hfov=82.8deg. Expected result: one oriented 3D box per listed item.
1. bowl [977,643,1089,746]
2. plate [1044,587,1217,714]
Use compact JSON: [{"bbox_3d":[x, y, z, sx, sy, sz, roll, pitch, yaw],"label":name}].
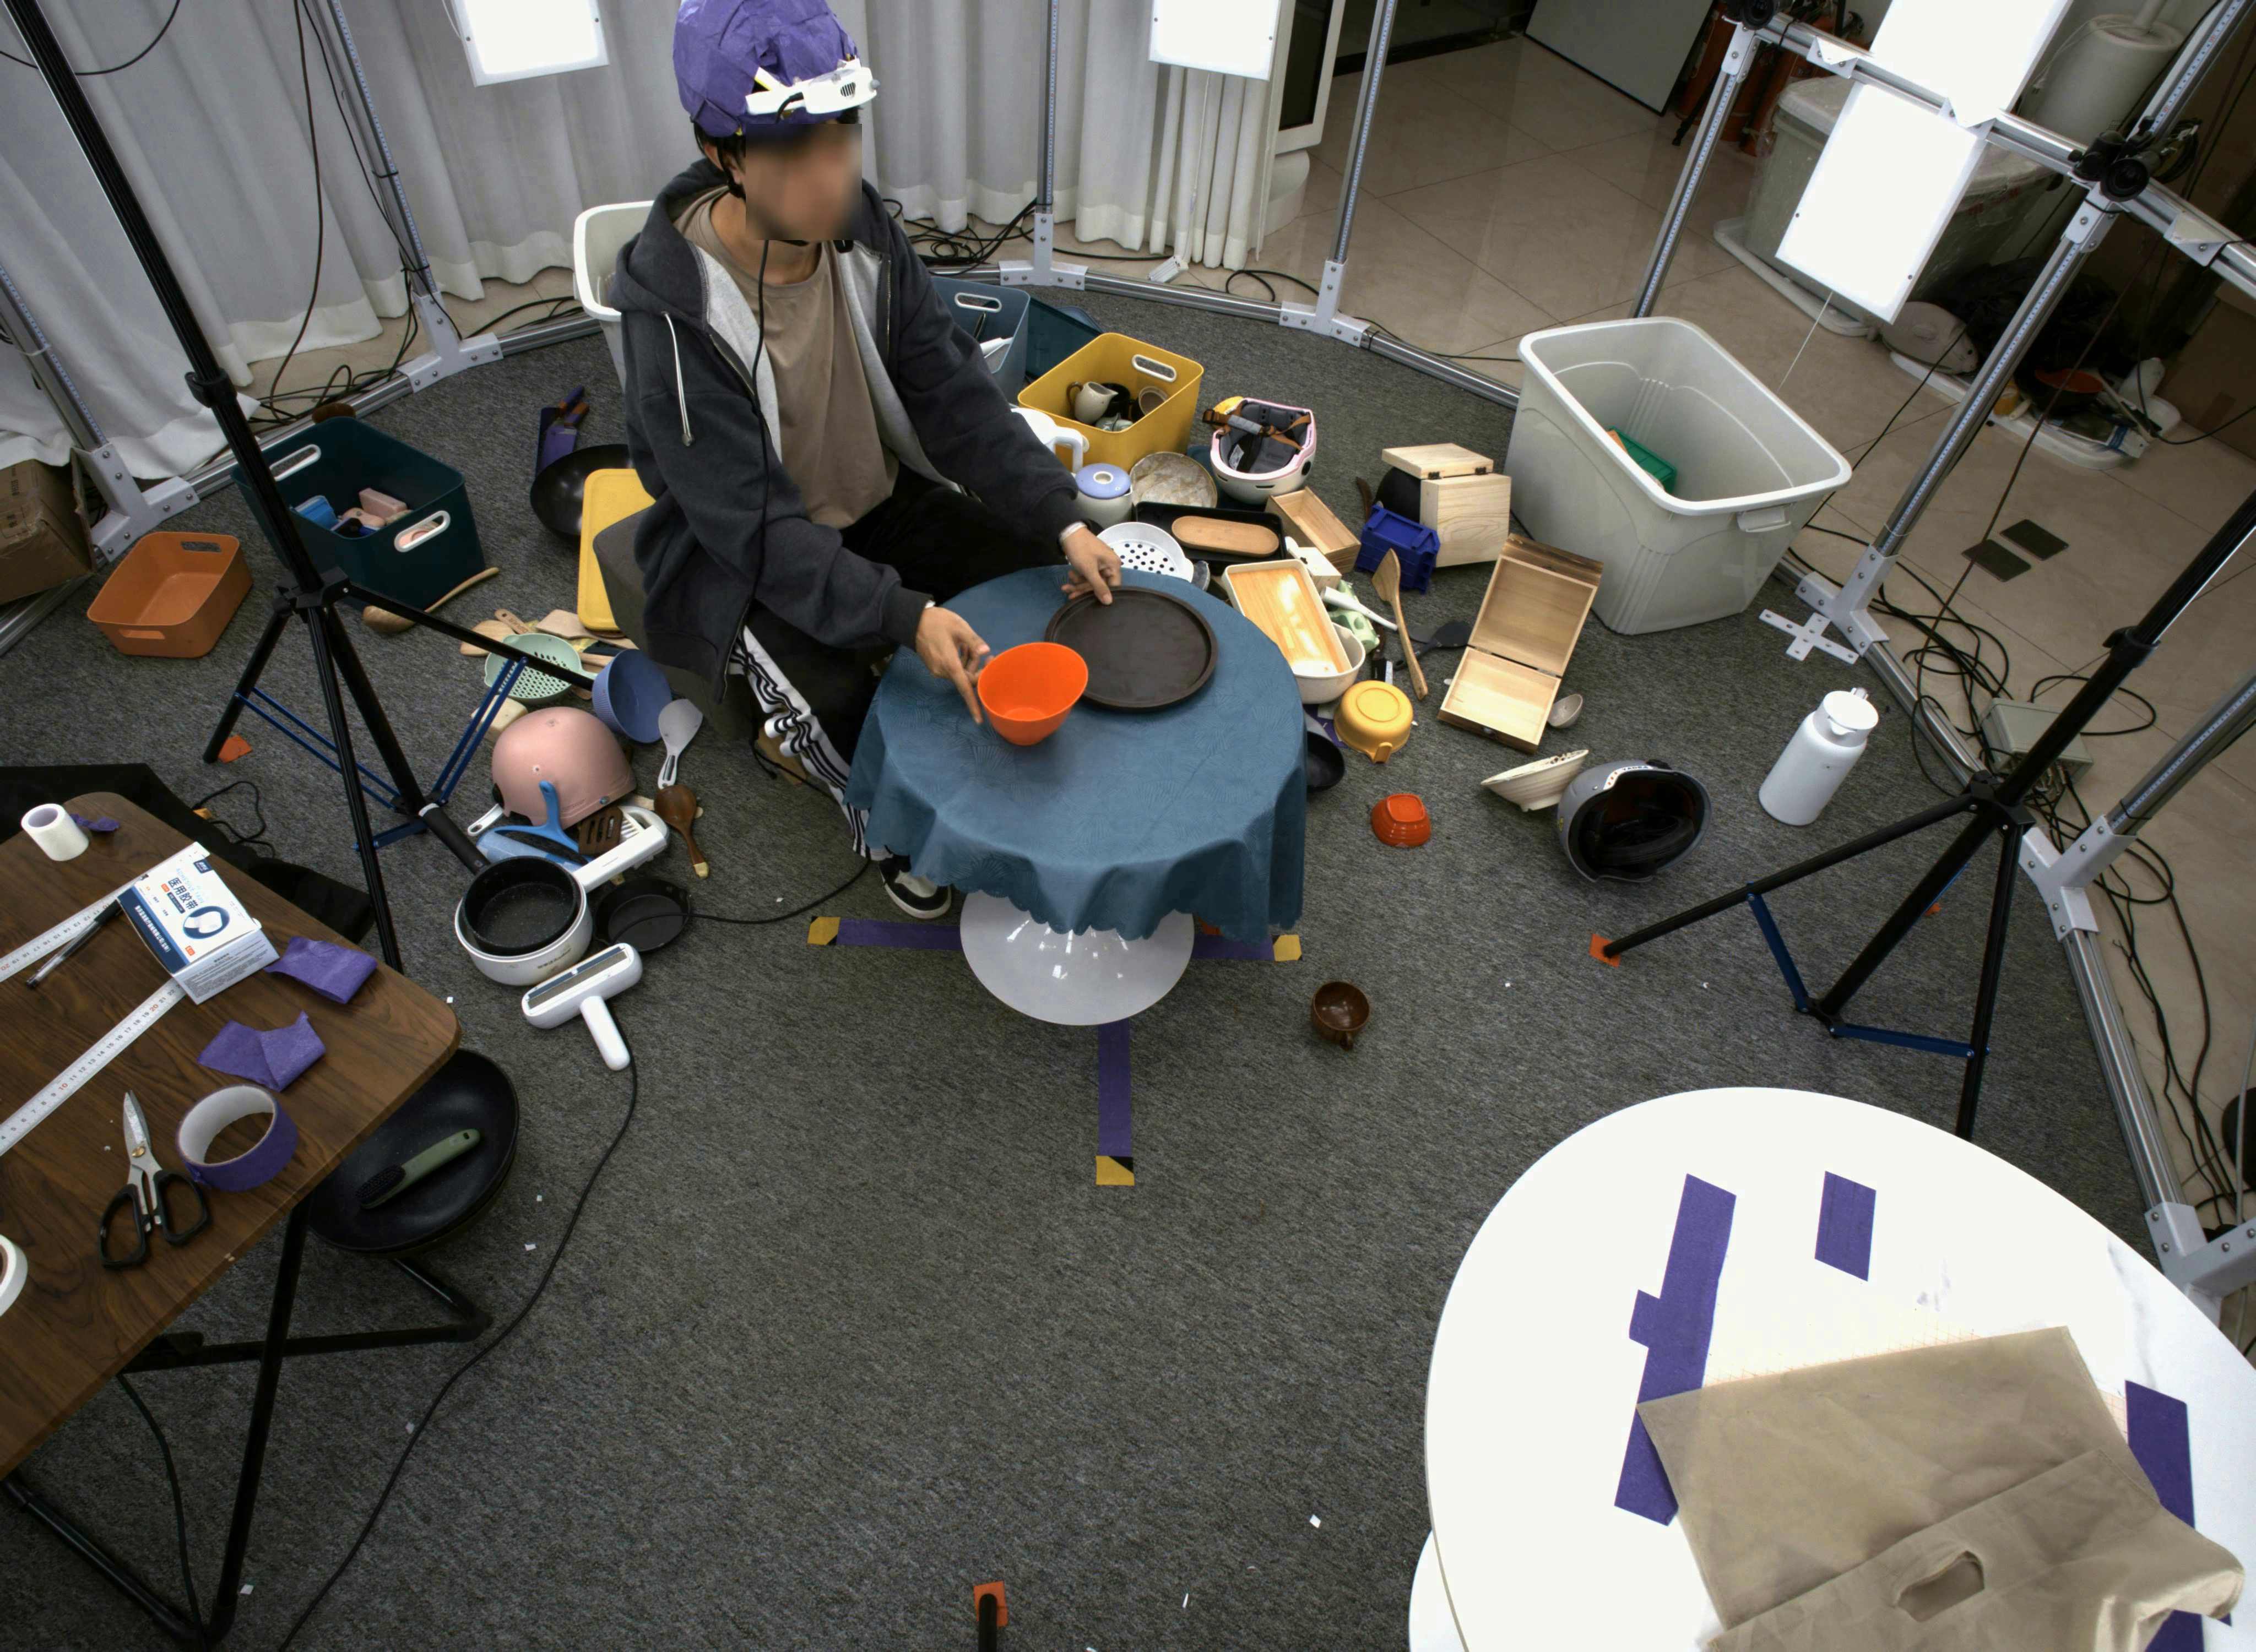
[{"bbox_3d":[-0.129,-0.166,1.737,0.148,0.102,0.152,2,51,-3],"label":"bowl"},{"bbox_3d":[0.004,-0.258,1.874,0.254,0.028,0.261,1,51,-2],"label":"plate"}]
